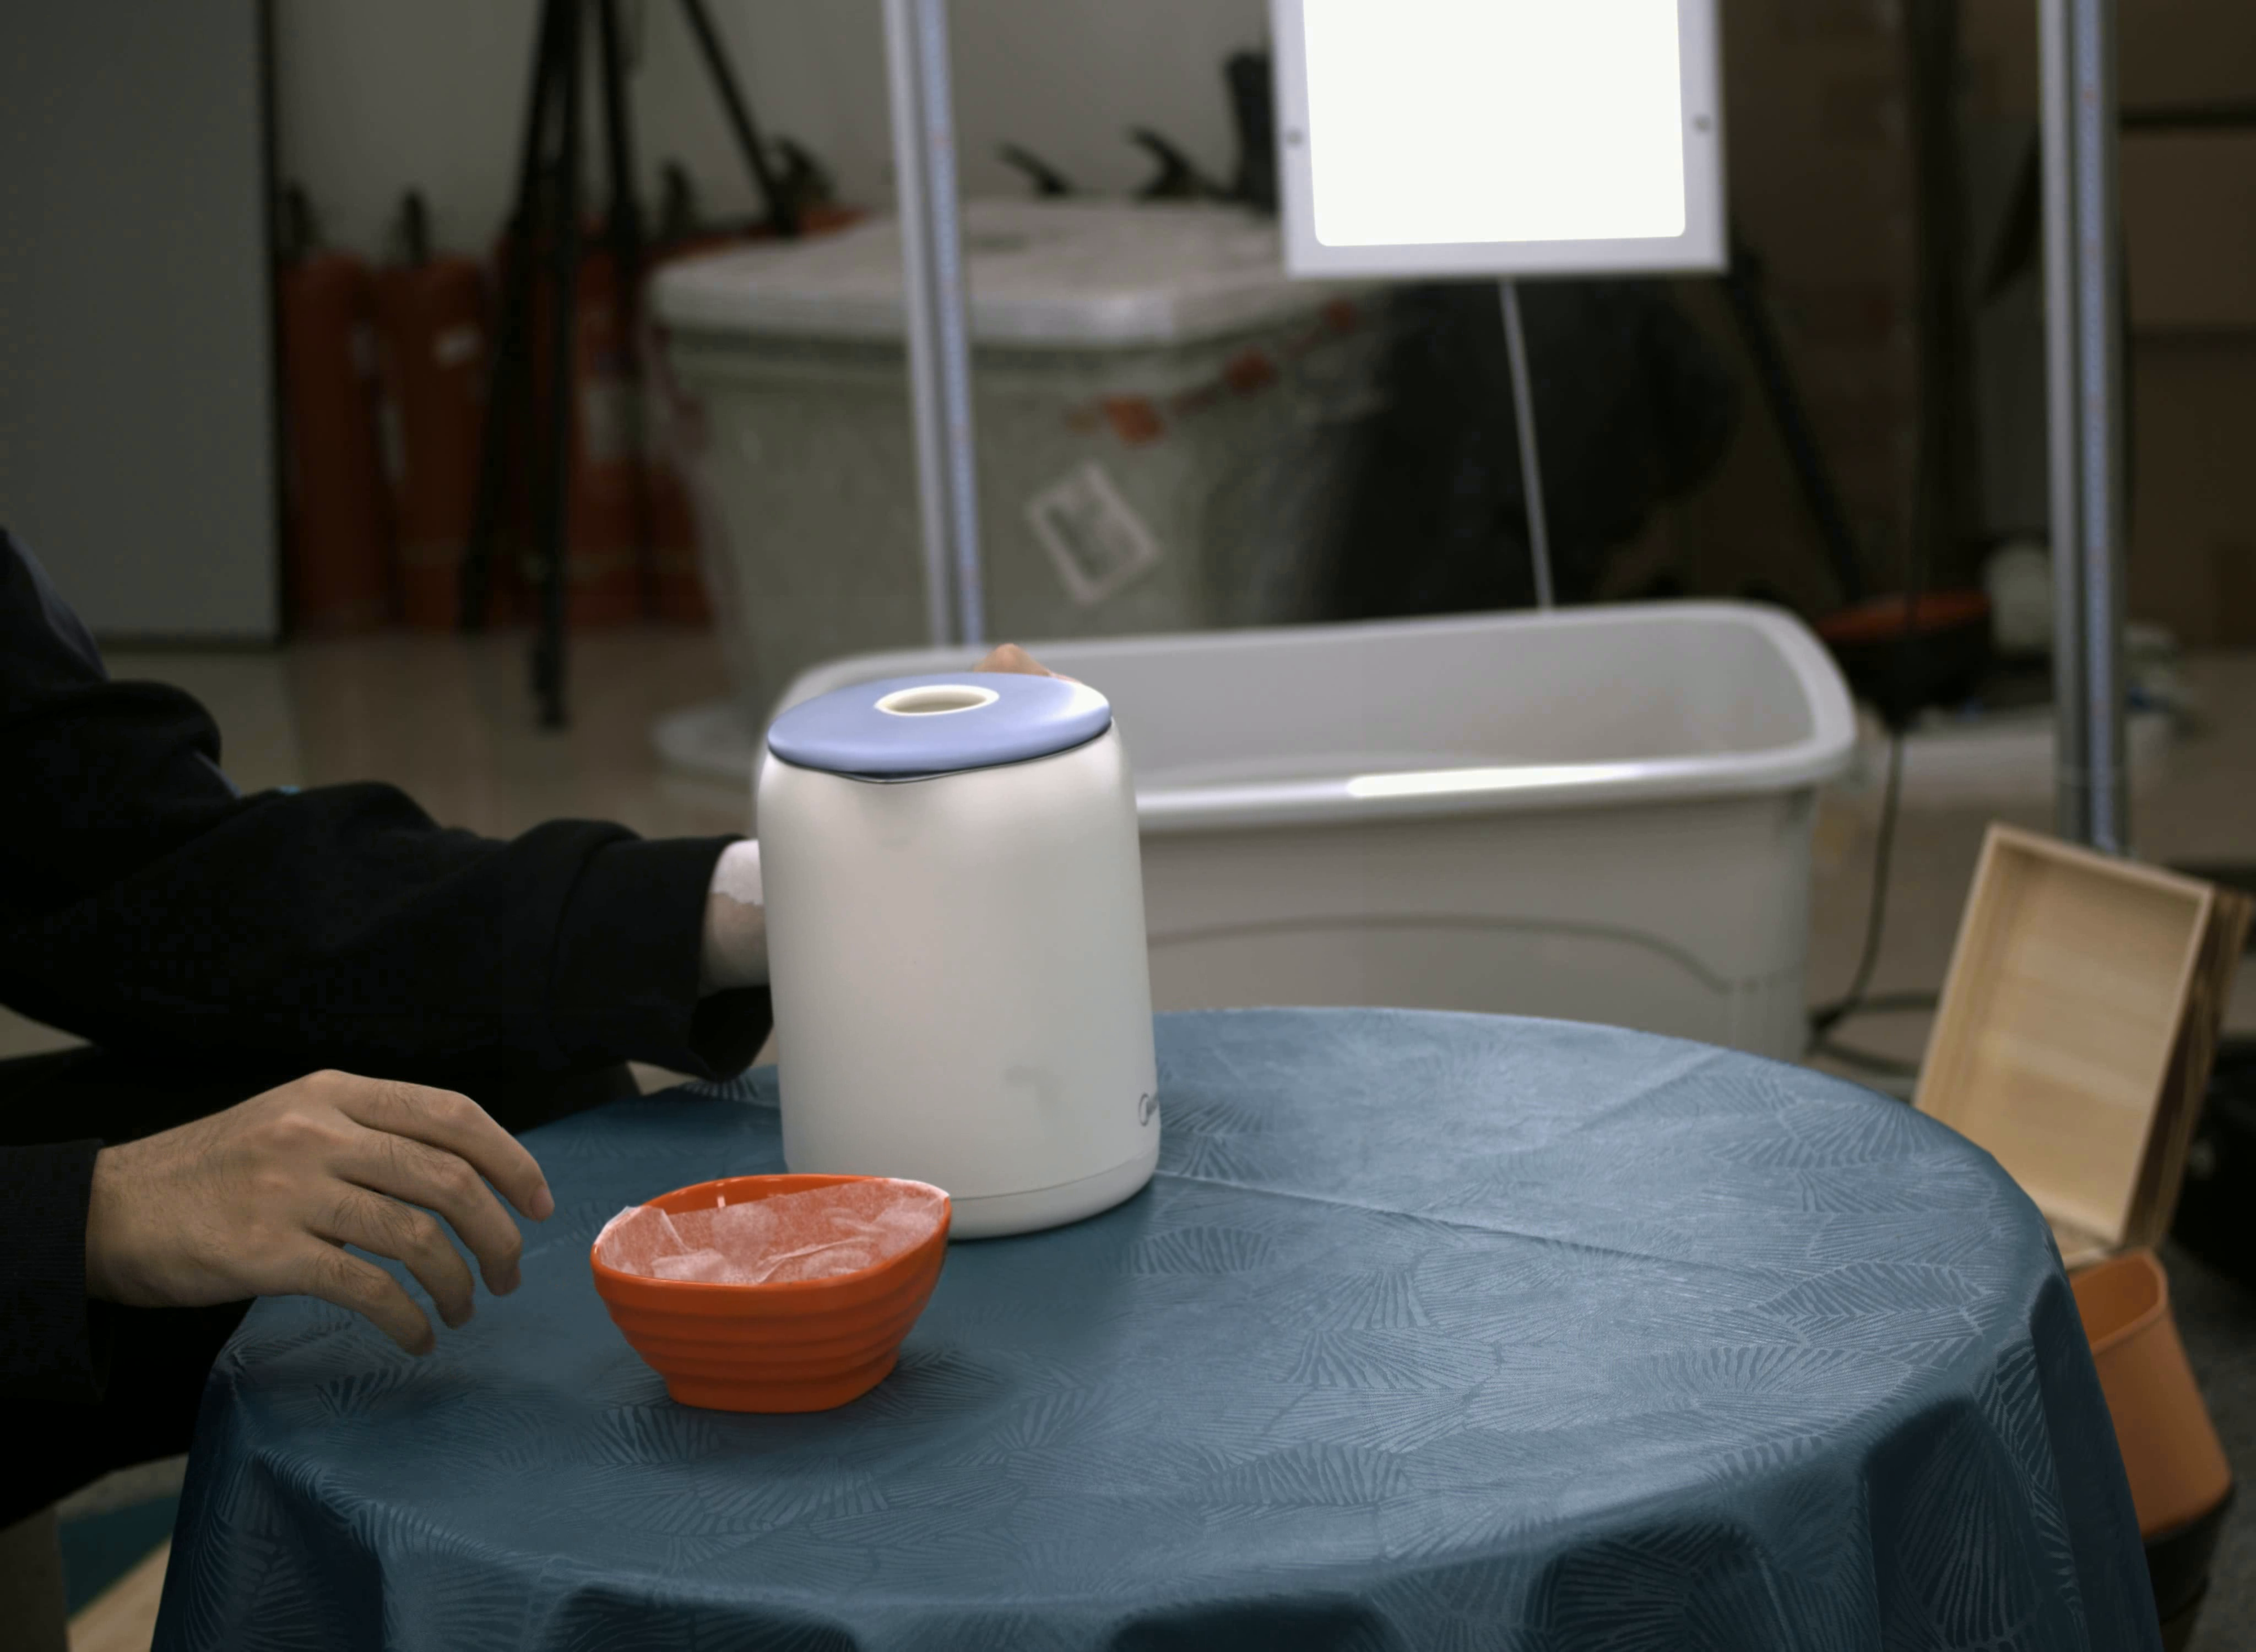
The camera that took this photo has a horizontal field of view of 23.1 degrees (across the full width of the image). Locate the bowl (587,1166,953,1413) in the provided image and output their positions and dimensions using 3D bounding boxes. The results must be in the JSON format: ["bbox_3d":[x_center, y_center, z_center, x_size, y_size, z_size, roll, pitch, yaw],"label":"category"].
[{"bbox_3d":[-0.111,0.148,1.735,0.118,0.051,0.119,-4,16,0],"label":"bowl"}]

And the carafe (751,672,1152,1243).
[{"bbox_3d":[-0.056,0.039,1.916,0.133,0.183,0.189,0,12,12],"label":"carafe"}]
